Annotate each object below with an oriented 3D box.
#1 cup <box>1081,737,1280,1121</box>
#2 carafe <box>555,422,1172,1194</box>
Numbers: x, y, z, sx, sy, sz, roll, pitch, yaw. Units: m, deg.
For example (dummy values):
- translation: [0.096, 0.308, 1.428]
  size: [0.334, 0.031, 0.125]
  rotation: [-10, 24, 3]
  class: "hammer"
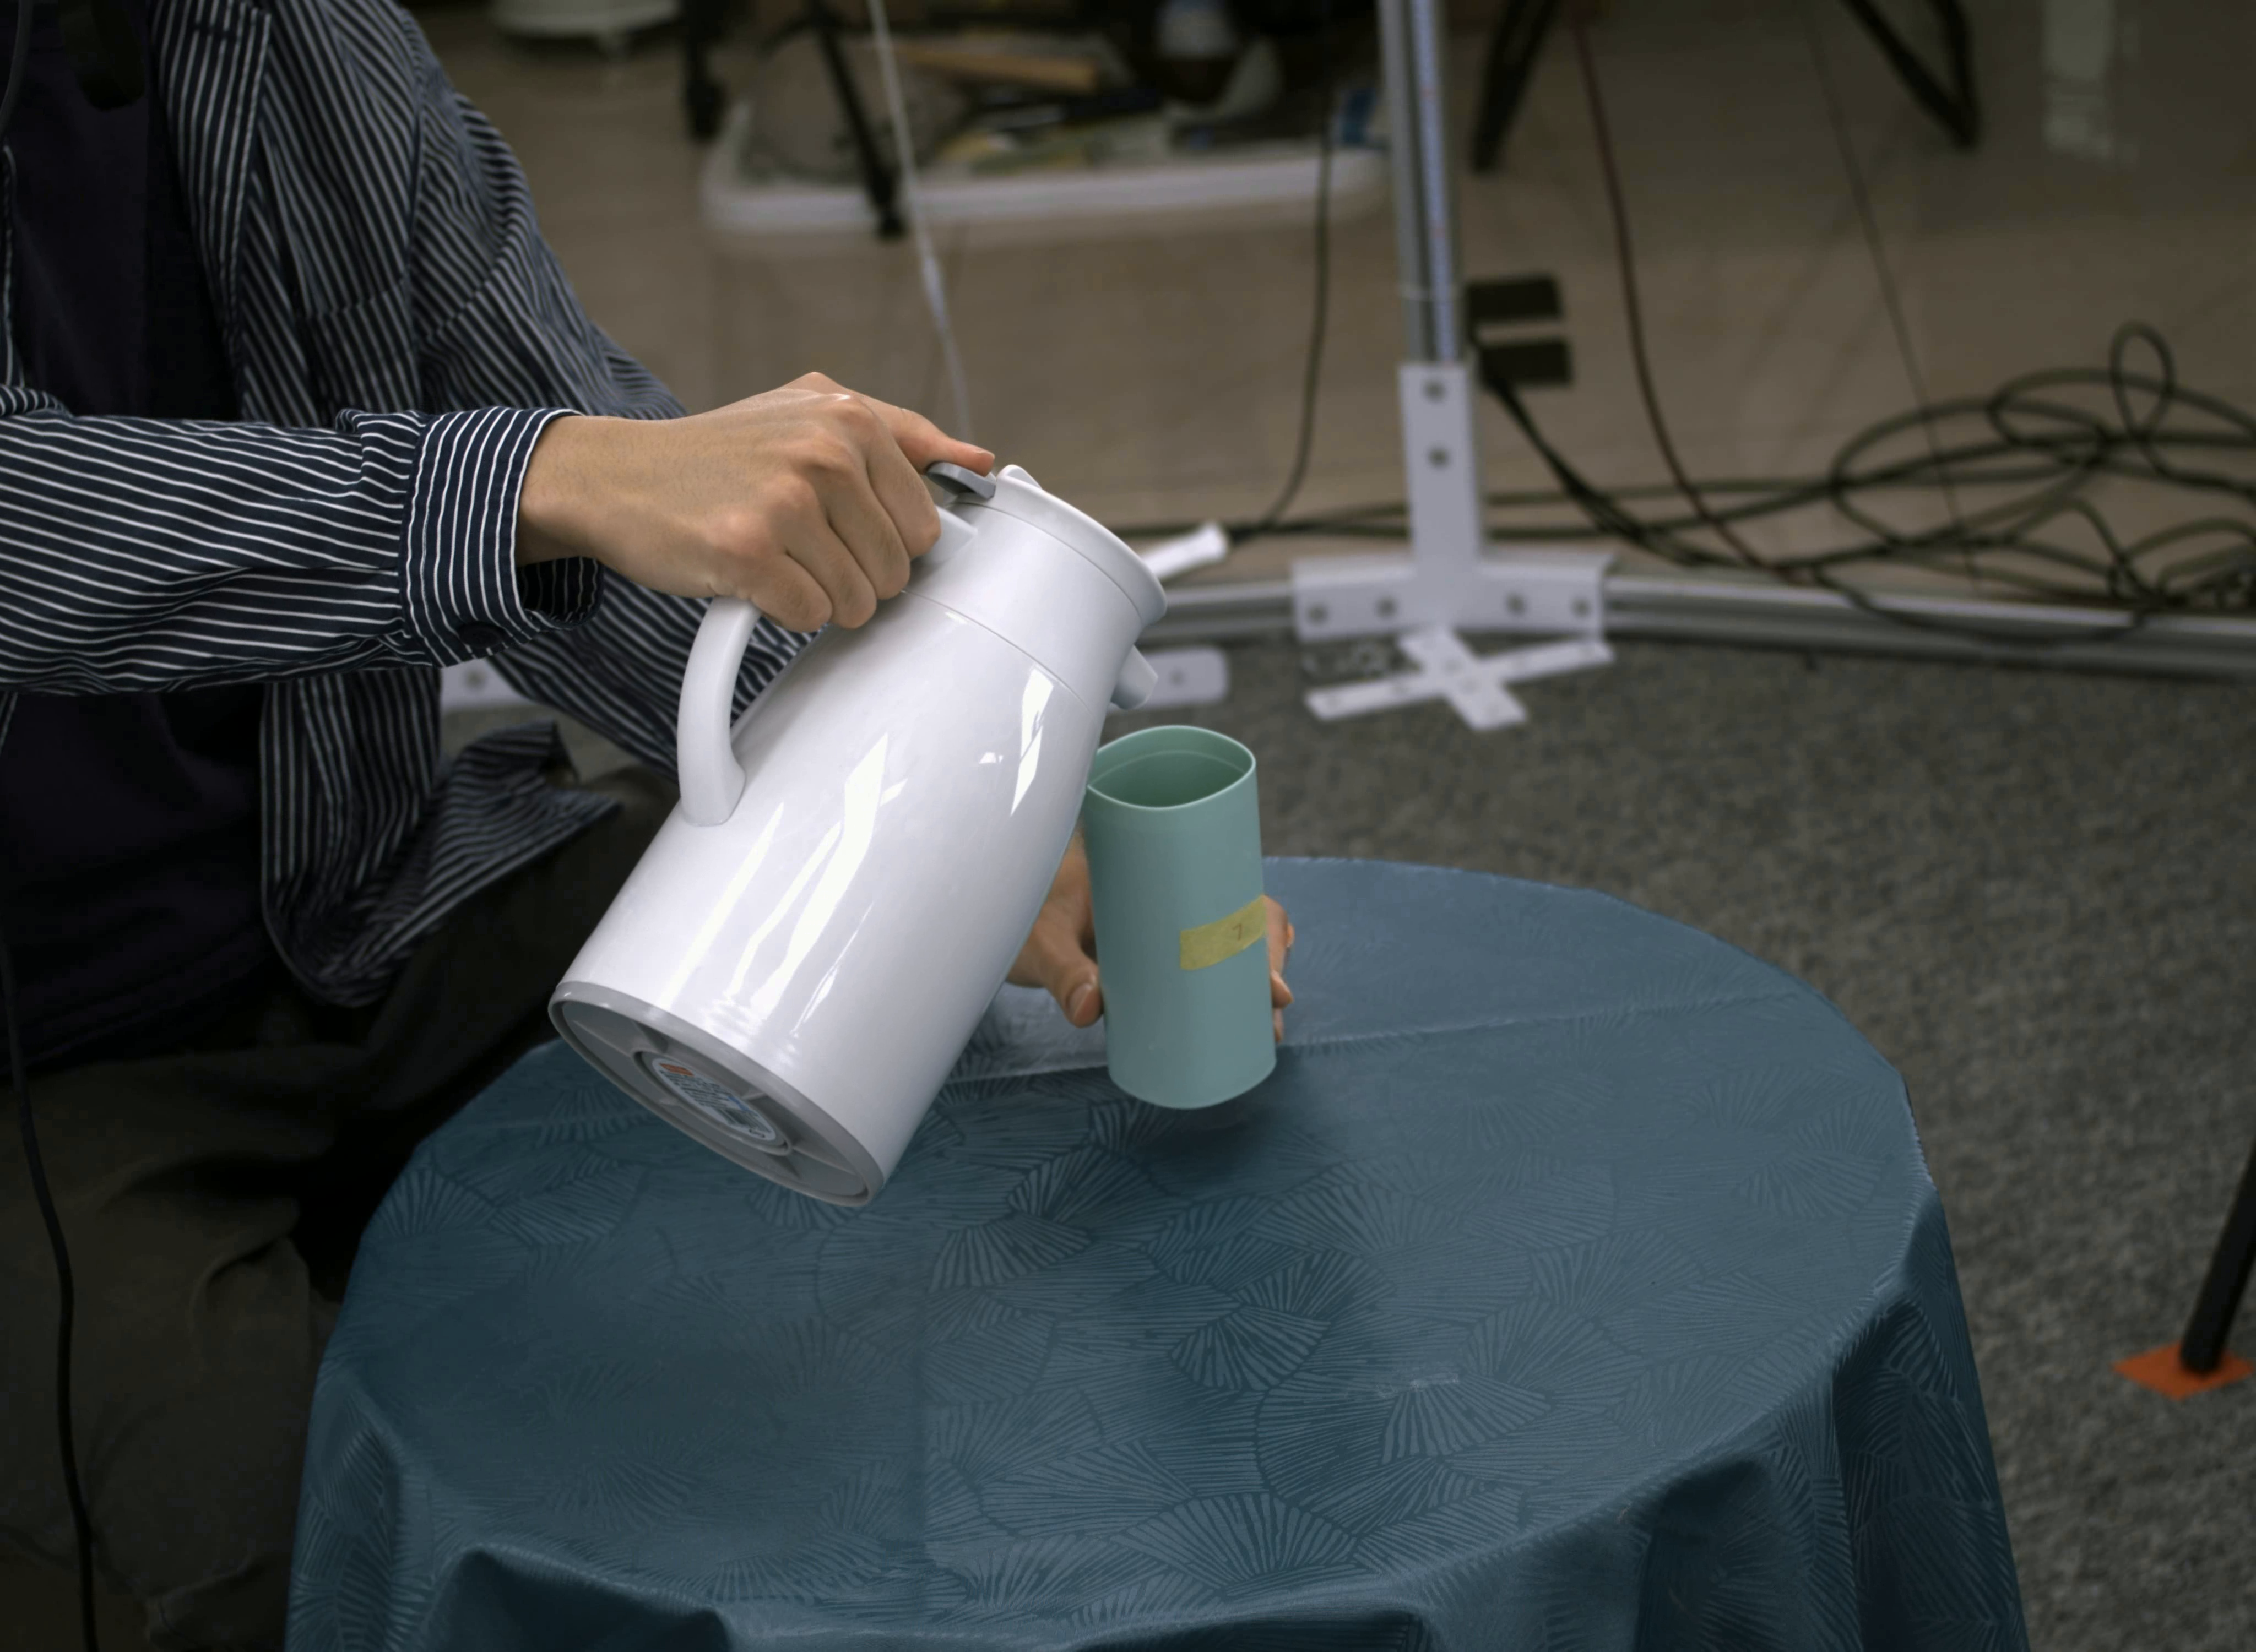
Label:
- translation: [0.020, 0.038, 2.141]
  size: [0.066, 0.134, 0.065]
  rotation: [-4, 31, 3]
  class: "cup"
- translation: [-0.091, -0.019, 1.976]
  size: [0.132, 0.170, 0.247]
  rotation: [14, 68, 49]
  class: "carafe"
